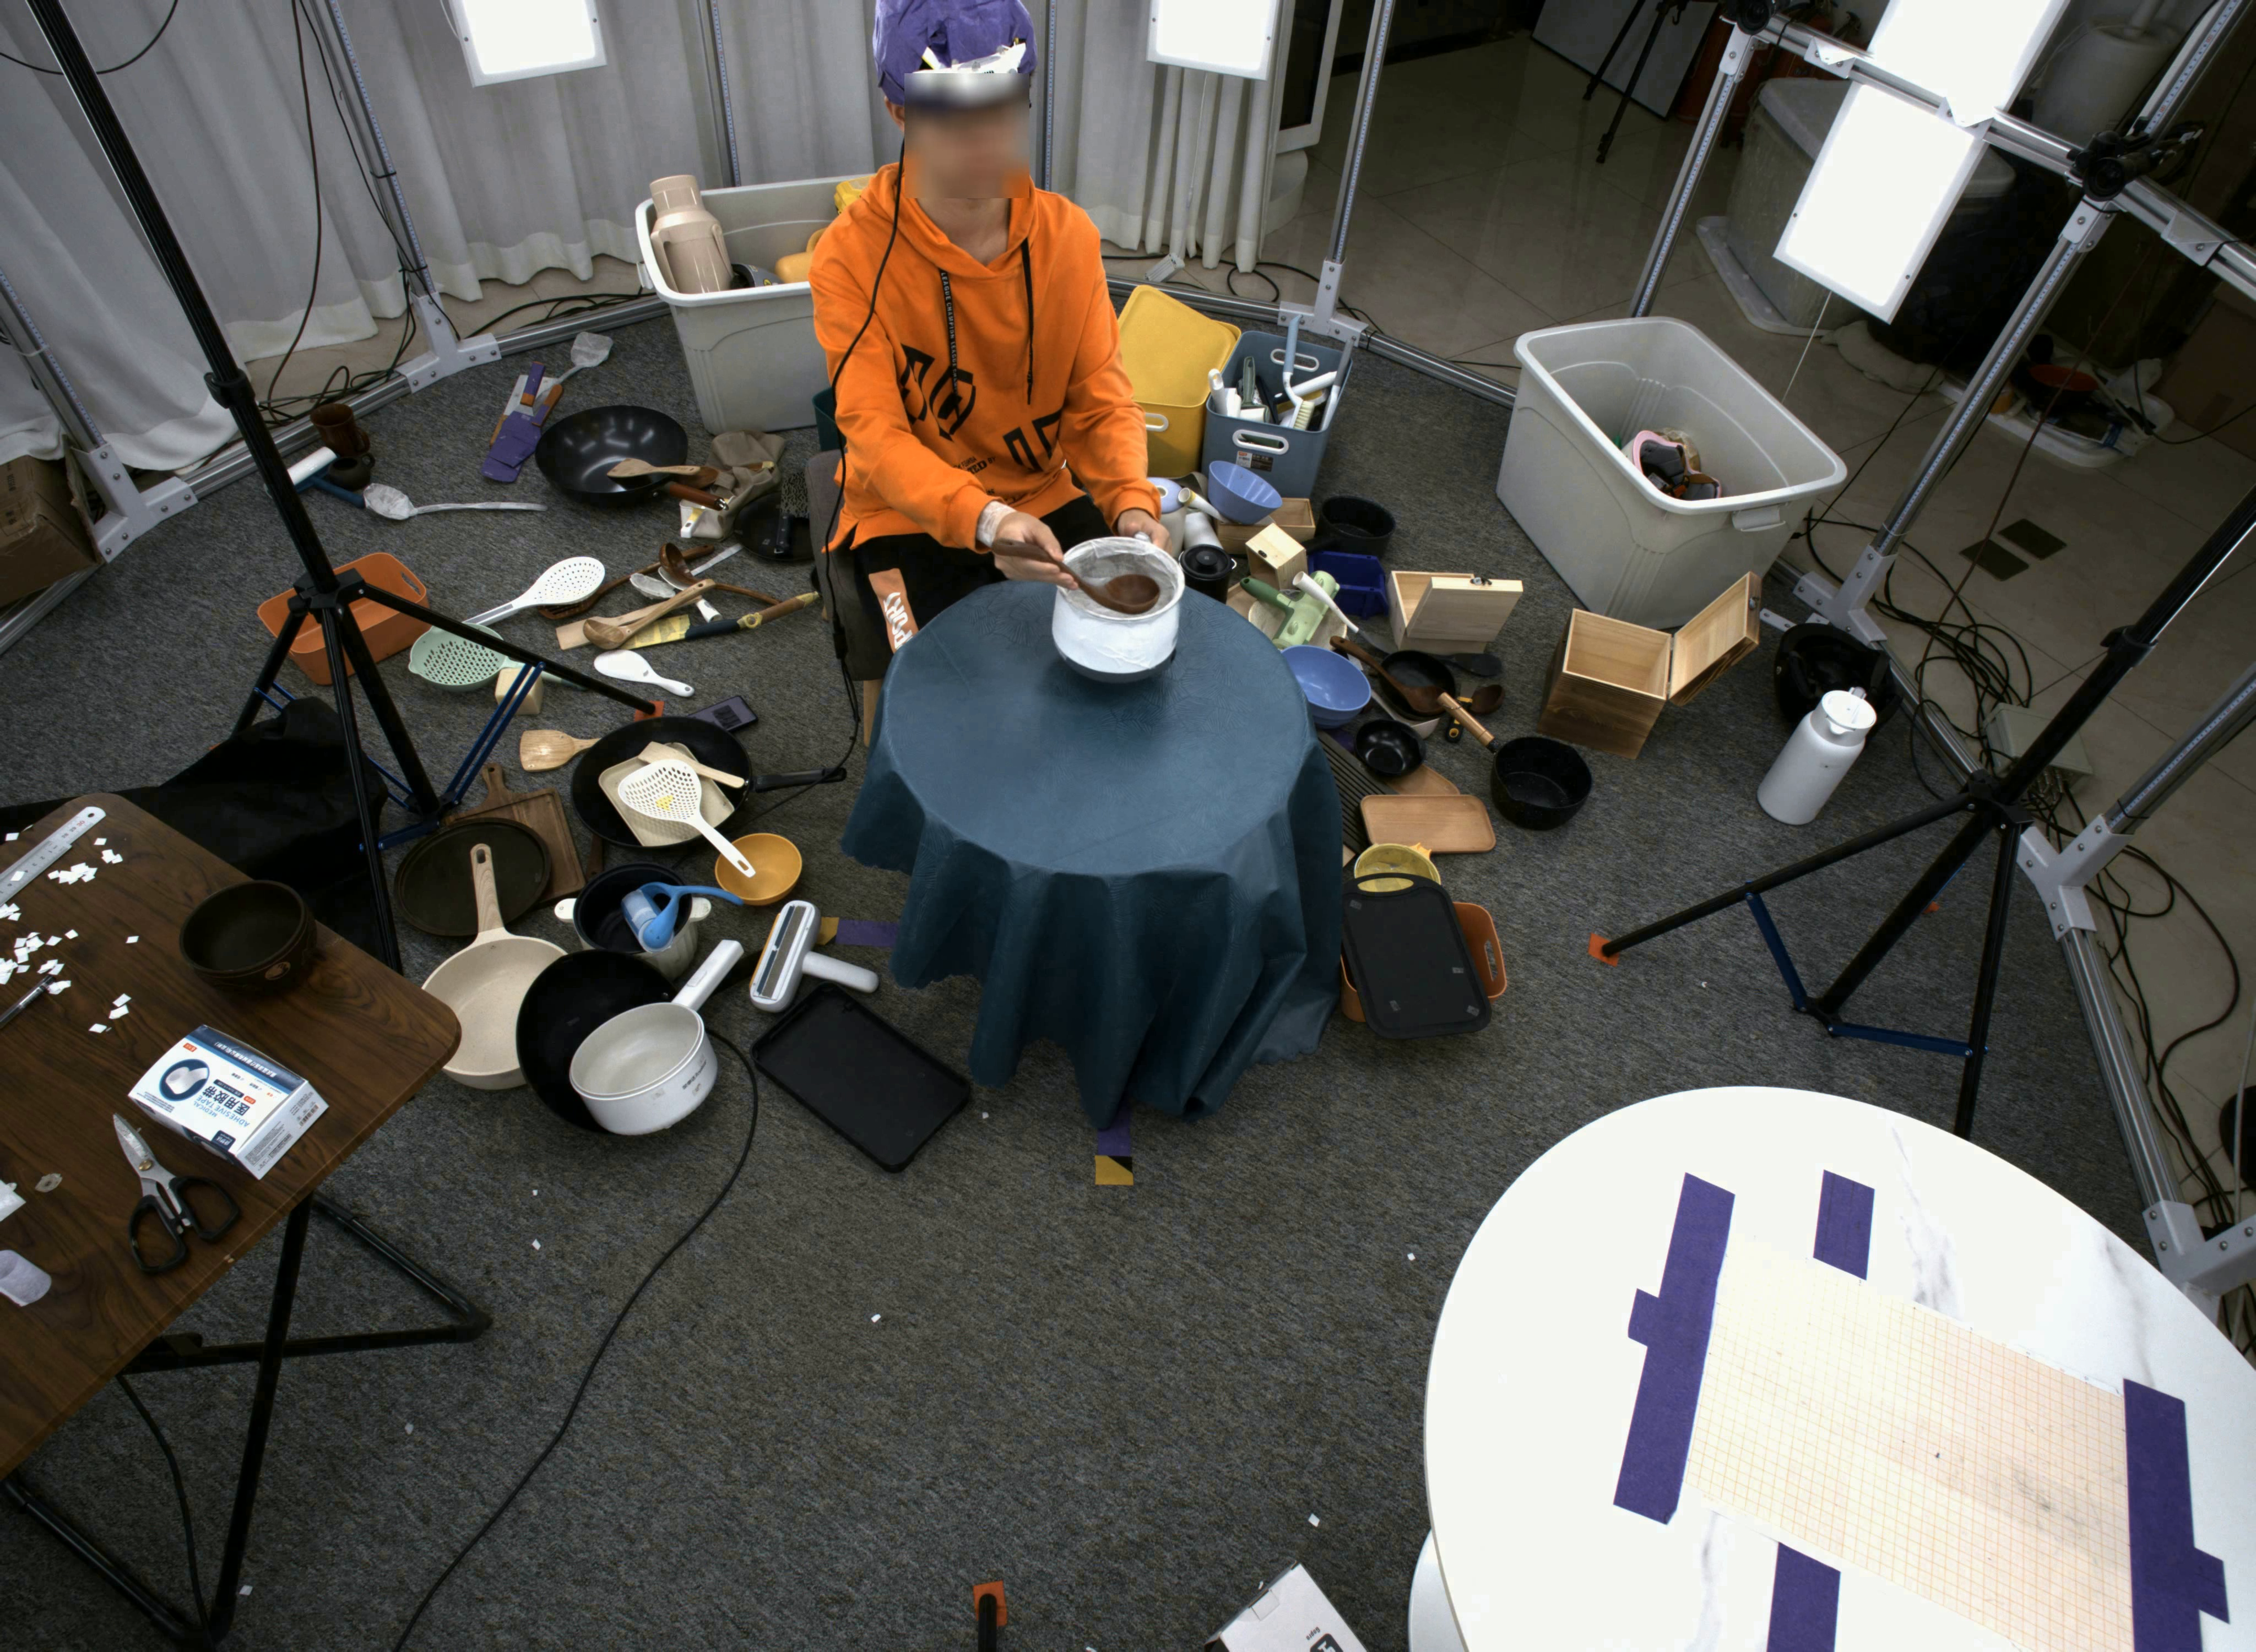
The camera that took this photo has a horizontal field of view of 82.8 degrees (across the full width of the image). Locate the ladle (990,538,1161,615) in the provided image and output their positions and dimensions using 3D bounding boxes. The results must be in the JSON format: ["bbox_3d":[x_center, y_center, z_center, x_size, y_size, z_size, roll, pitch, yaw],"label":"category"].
[{"bbox_3d":[-0.063,-0.337,1.671,0.257,0.064,0.078,20,23,-40],"label":"ladle"}]

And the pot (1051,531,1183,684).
[{"bbox_3d":[-0.010,-0.317,1.809,0.179,0.133,0.239,15,49,7],"label":"pot"}]
